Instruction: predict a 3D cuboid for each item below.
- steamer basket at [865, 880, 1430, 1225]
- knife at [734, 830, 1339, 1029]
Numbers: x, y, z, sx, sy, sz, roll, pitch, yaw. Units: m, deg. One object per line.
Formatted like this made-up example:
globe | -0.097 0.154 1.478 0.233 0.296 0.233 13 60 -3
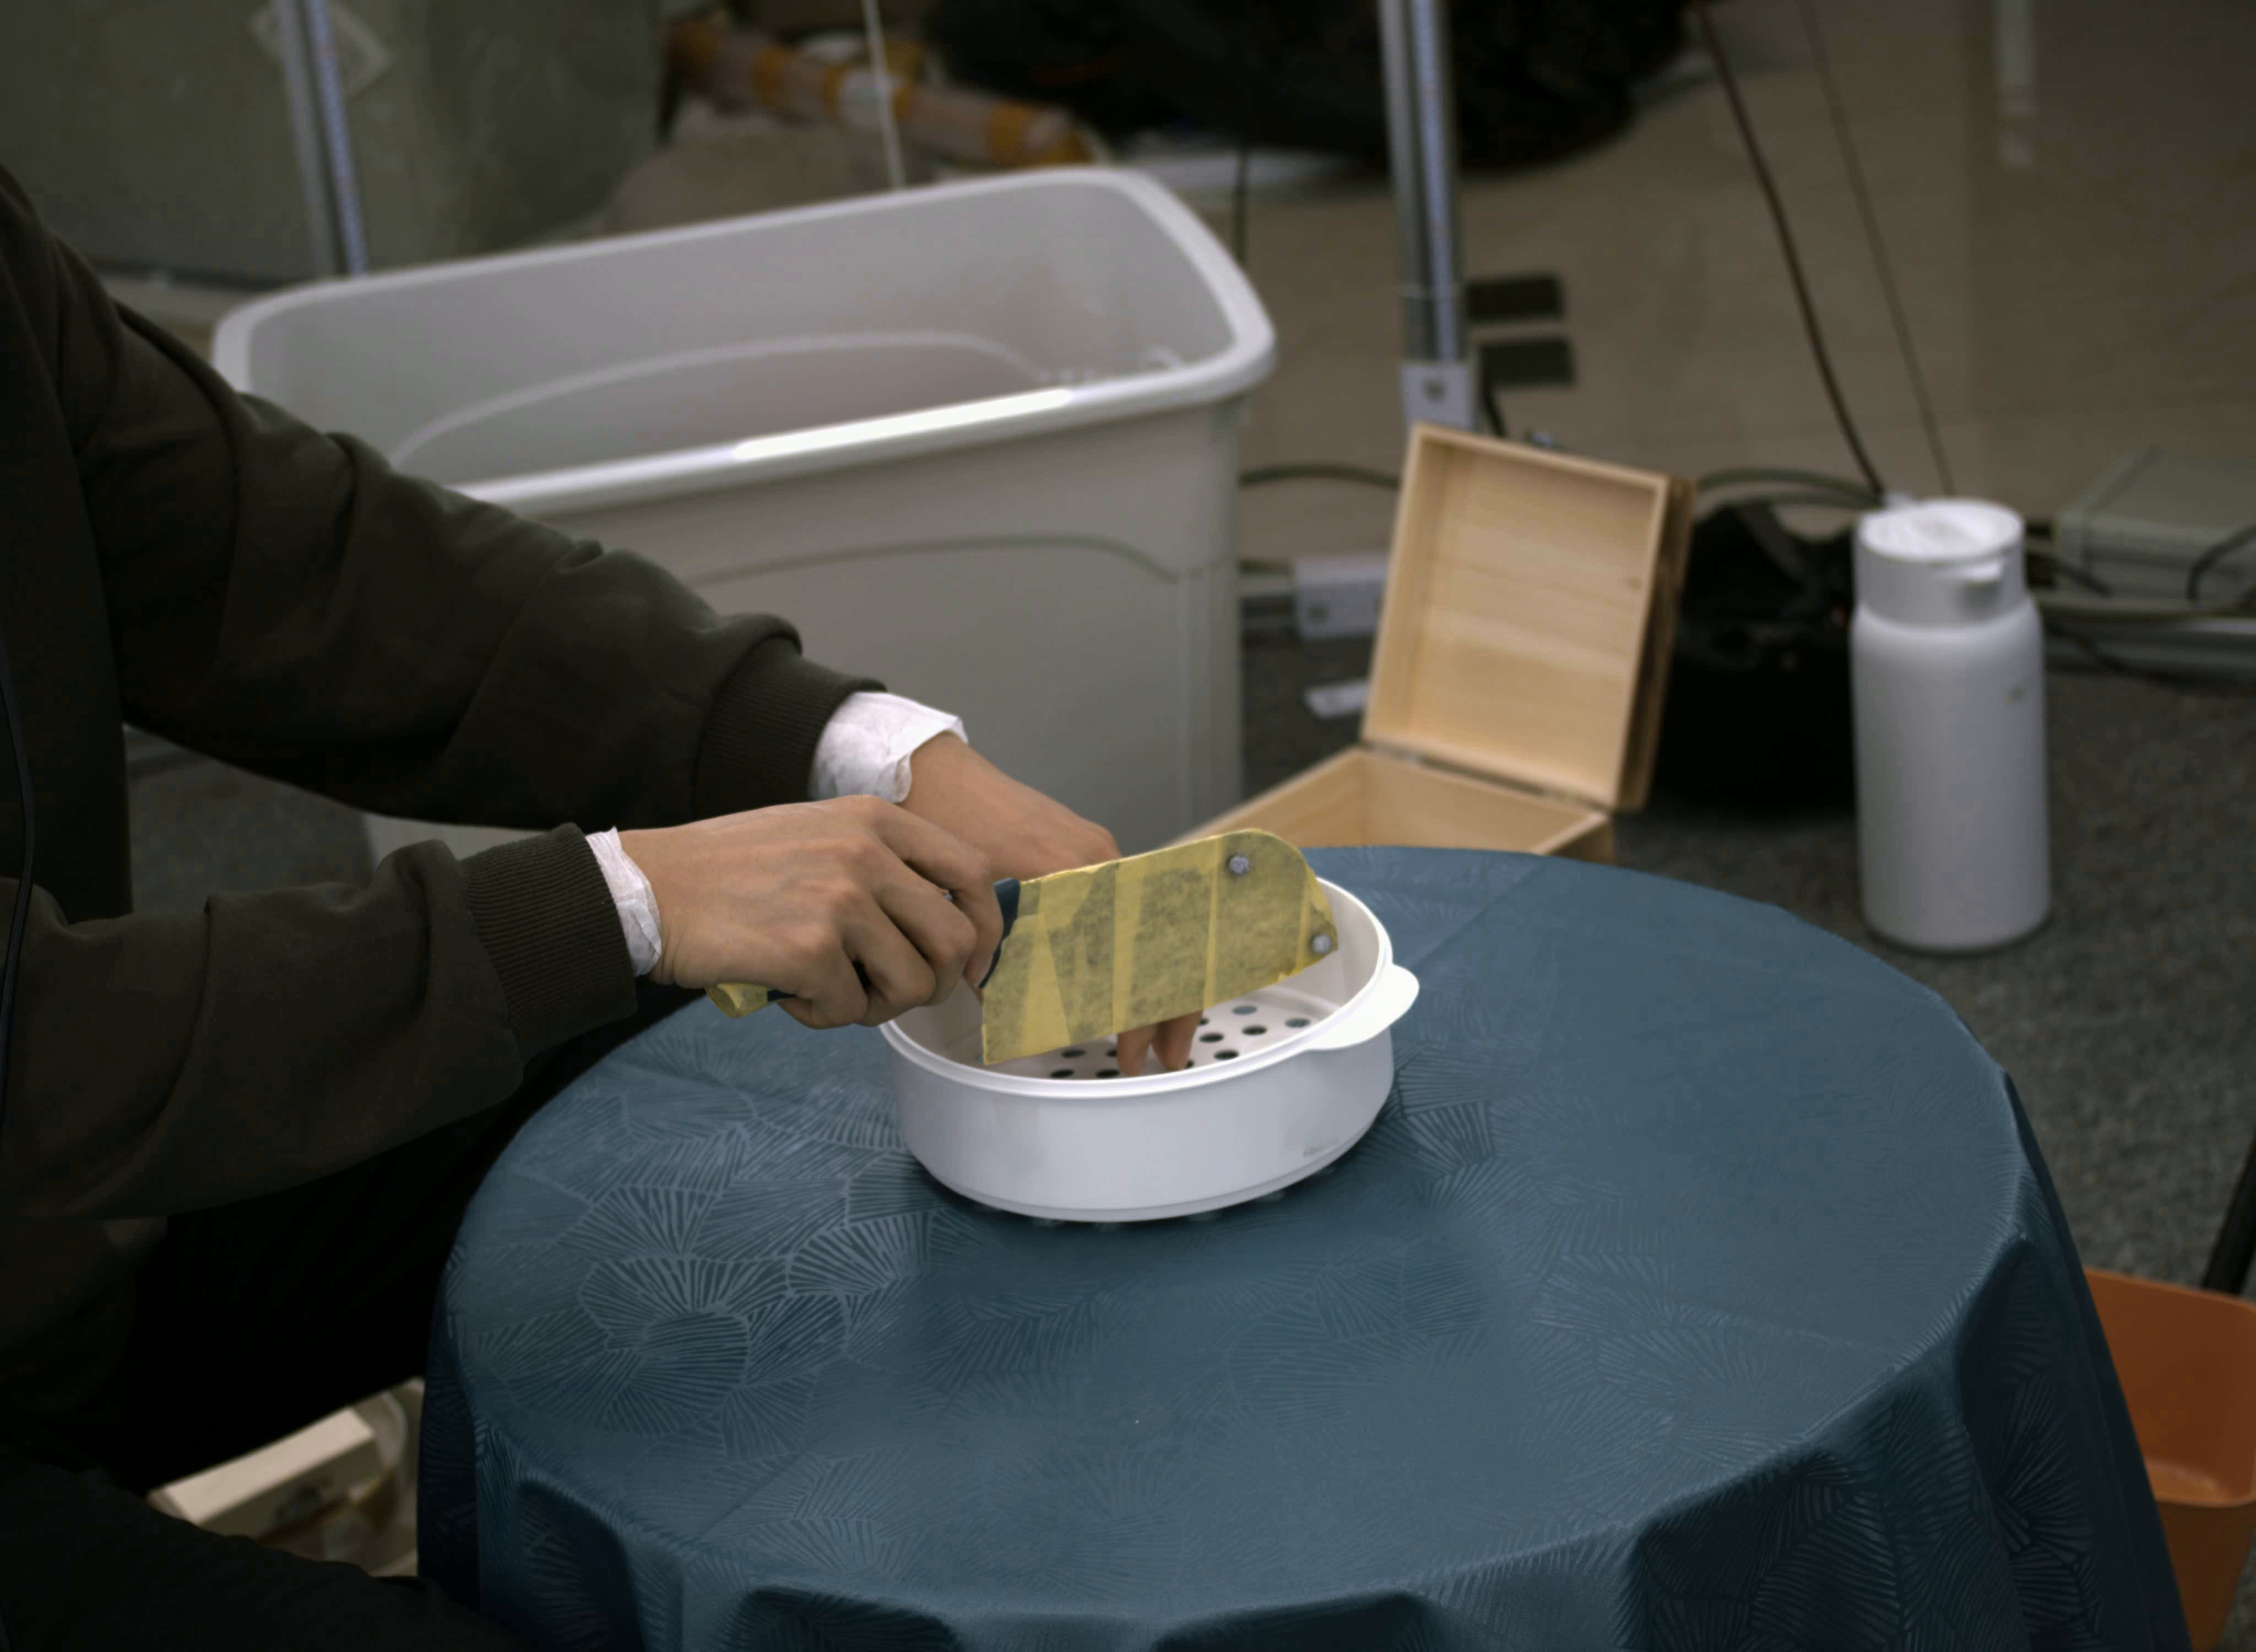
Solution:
steamer basket | 0.009 0.084 2.187 0.230 0.070 0.199 6 27 29
knife | -0.030 0.041 2.125 0.289 0.082 0.027 -4 34 -39
